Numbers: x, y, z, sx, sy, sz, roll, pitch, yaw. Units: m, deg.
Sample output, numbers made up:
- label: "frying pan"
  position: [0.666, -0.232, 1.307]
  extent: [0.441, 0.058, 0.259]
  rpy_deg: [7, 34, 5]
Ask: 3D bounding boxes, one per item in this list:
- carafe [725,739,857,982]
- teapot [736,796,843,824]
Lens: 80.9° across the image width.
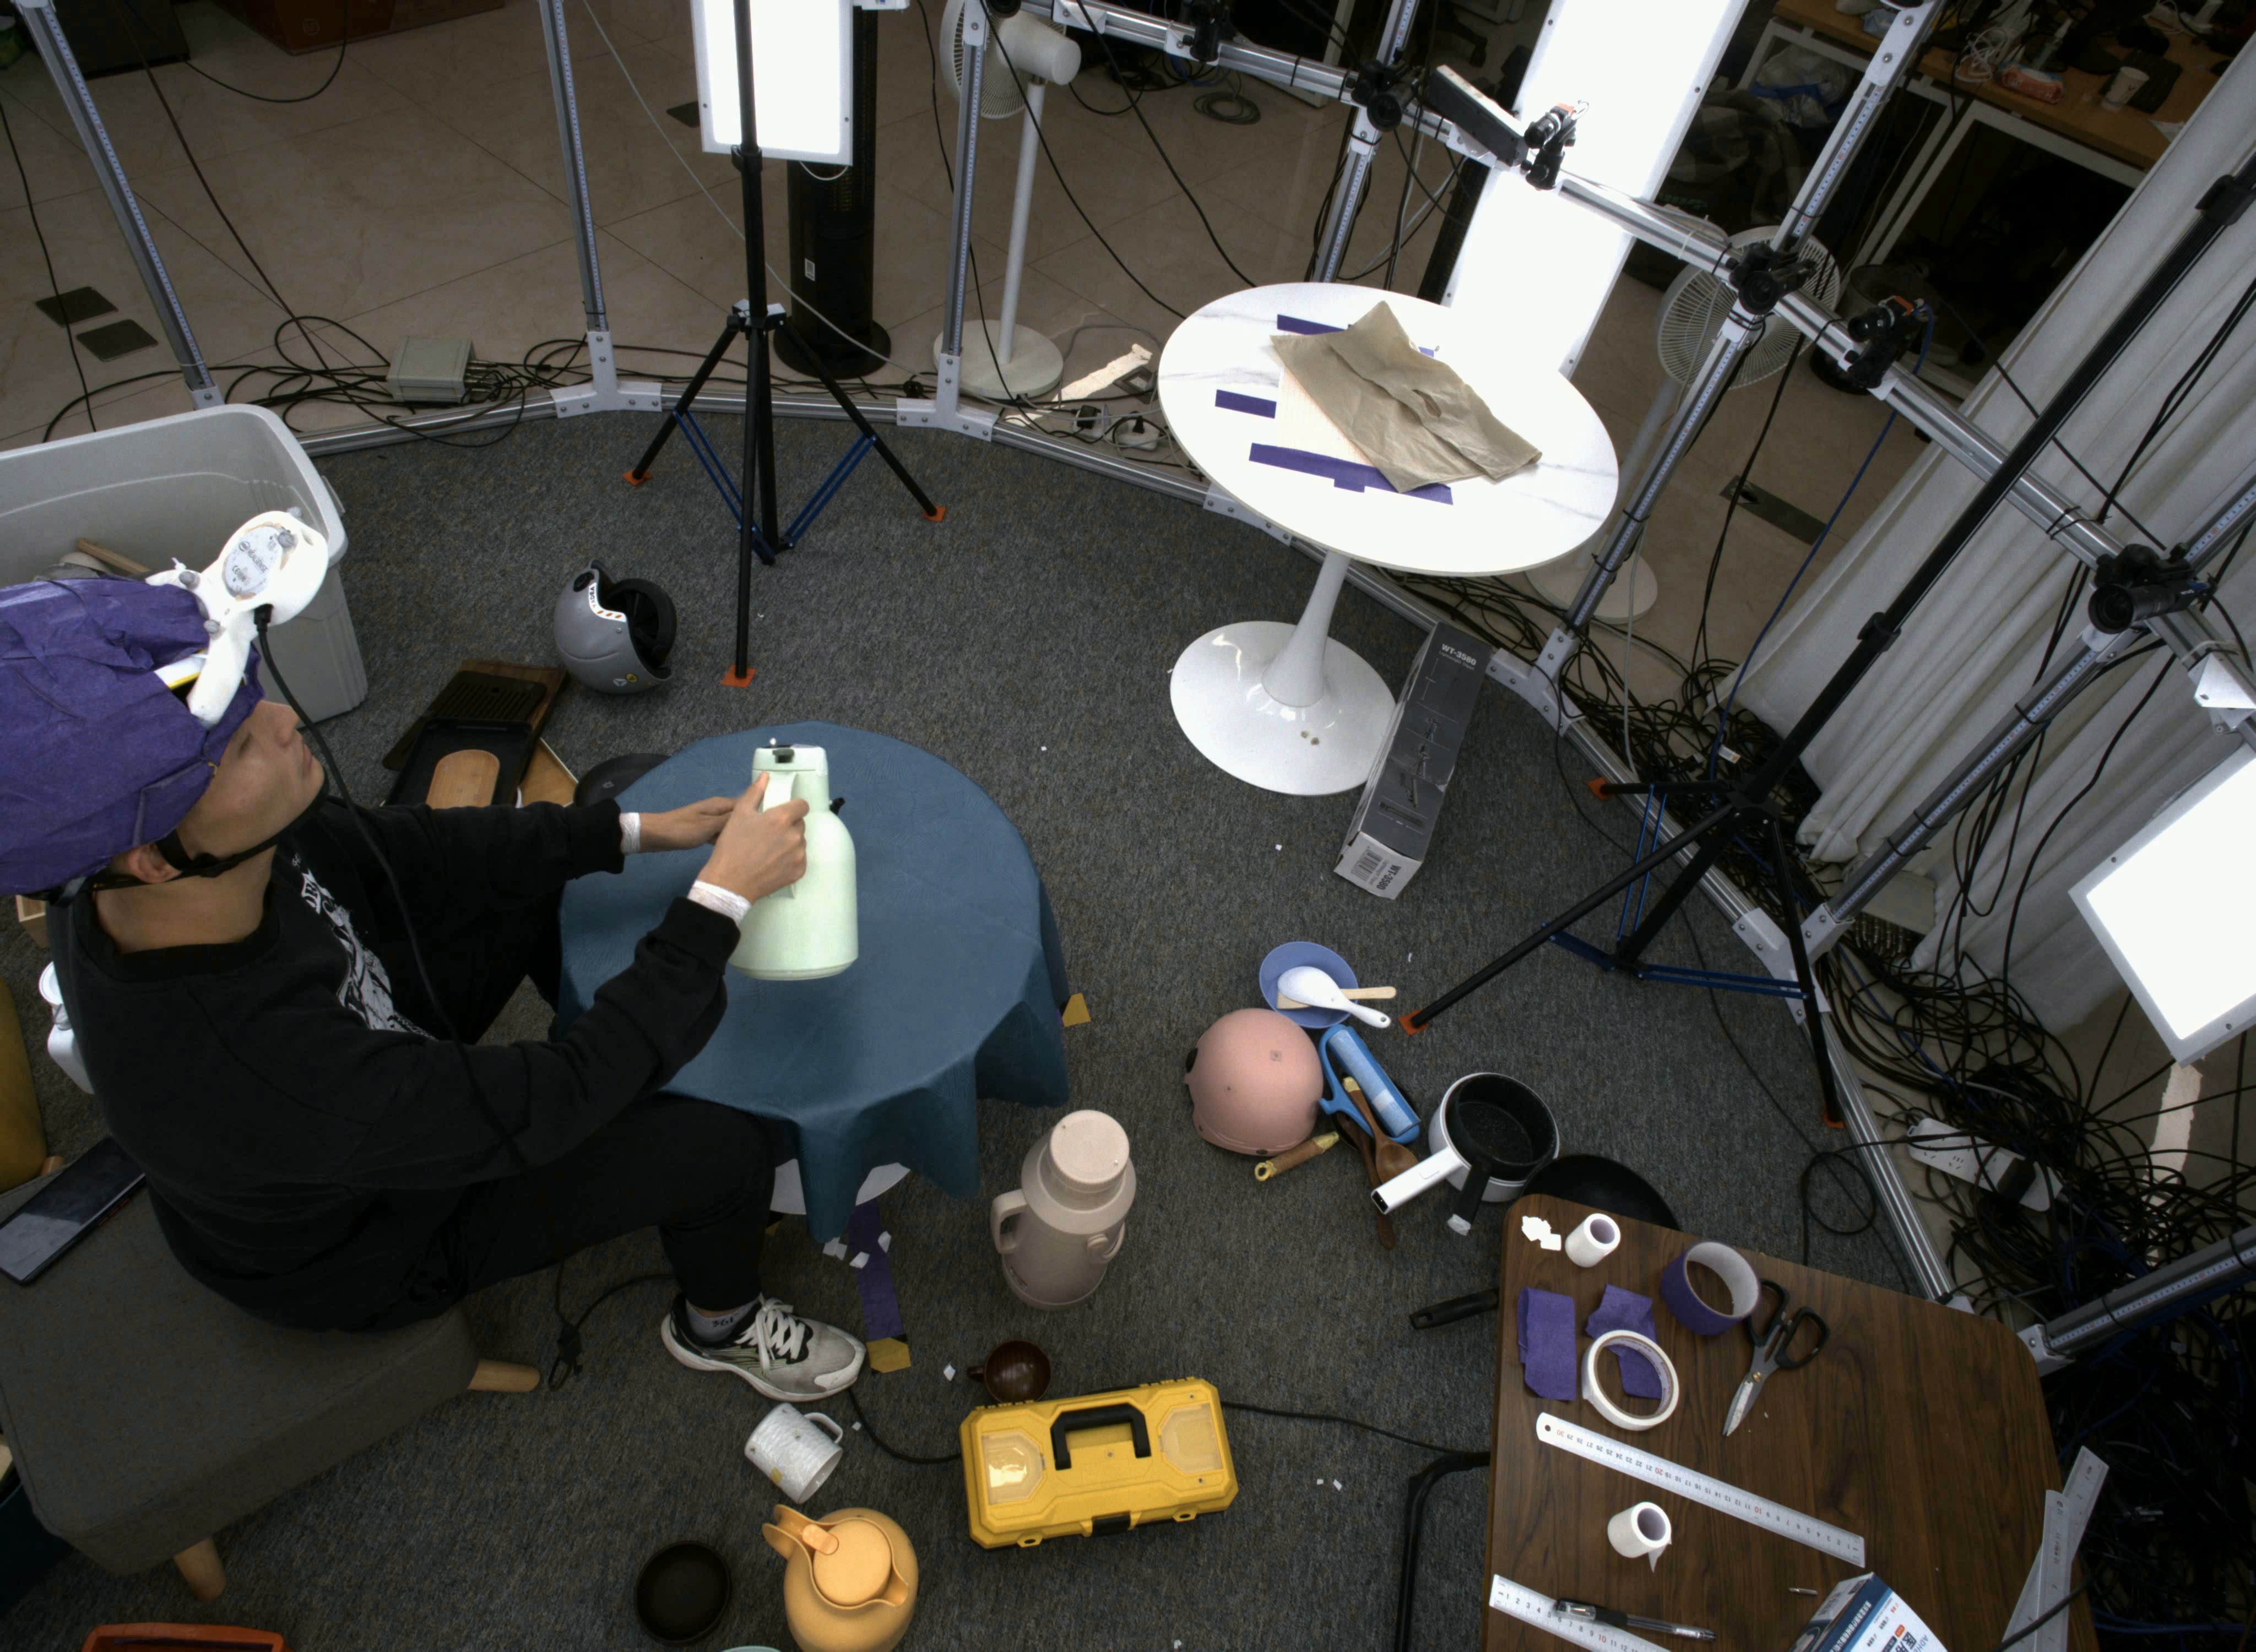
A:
- label: "carafe"
  position: [-0.375, 0.036, 1.429]
  extent: [0.143, 0.262, 0.184]
  rpy_deg: [0, 11, -7]
- label: "teapot"
  position: [-0.421, -0.012, 1.618]
  extent: [0.133, 0.054, 0.088]
  rpy_deg: [-7, 52, -15]
